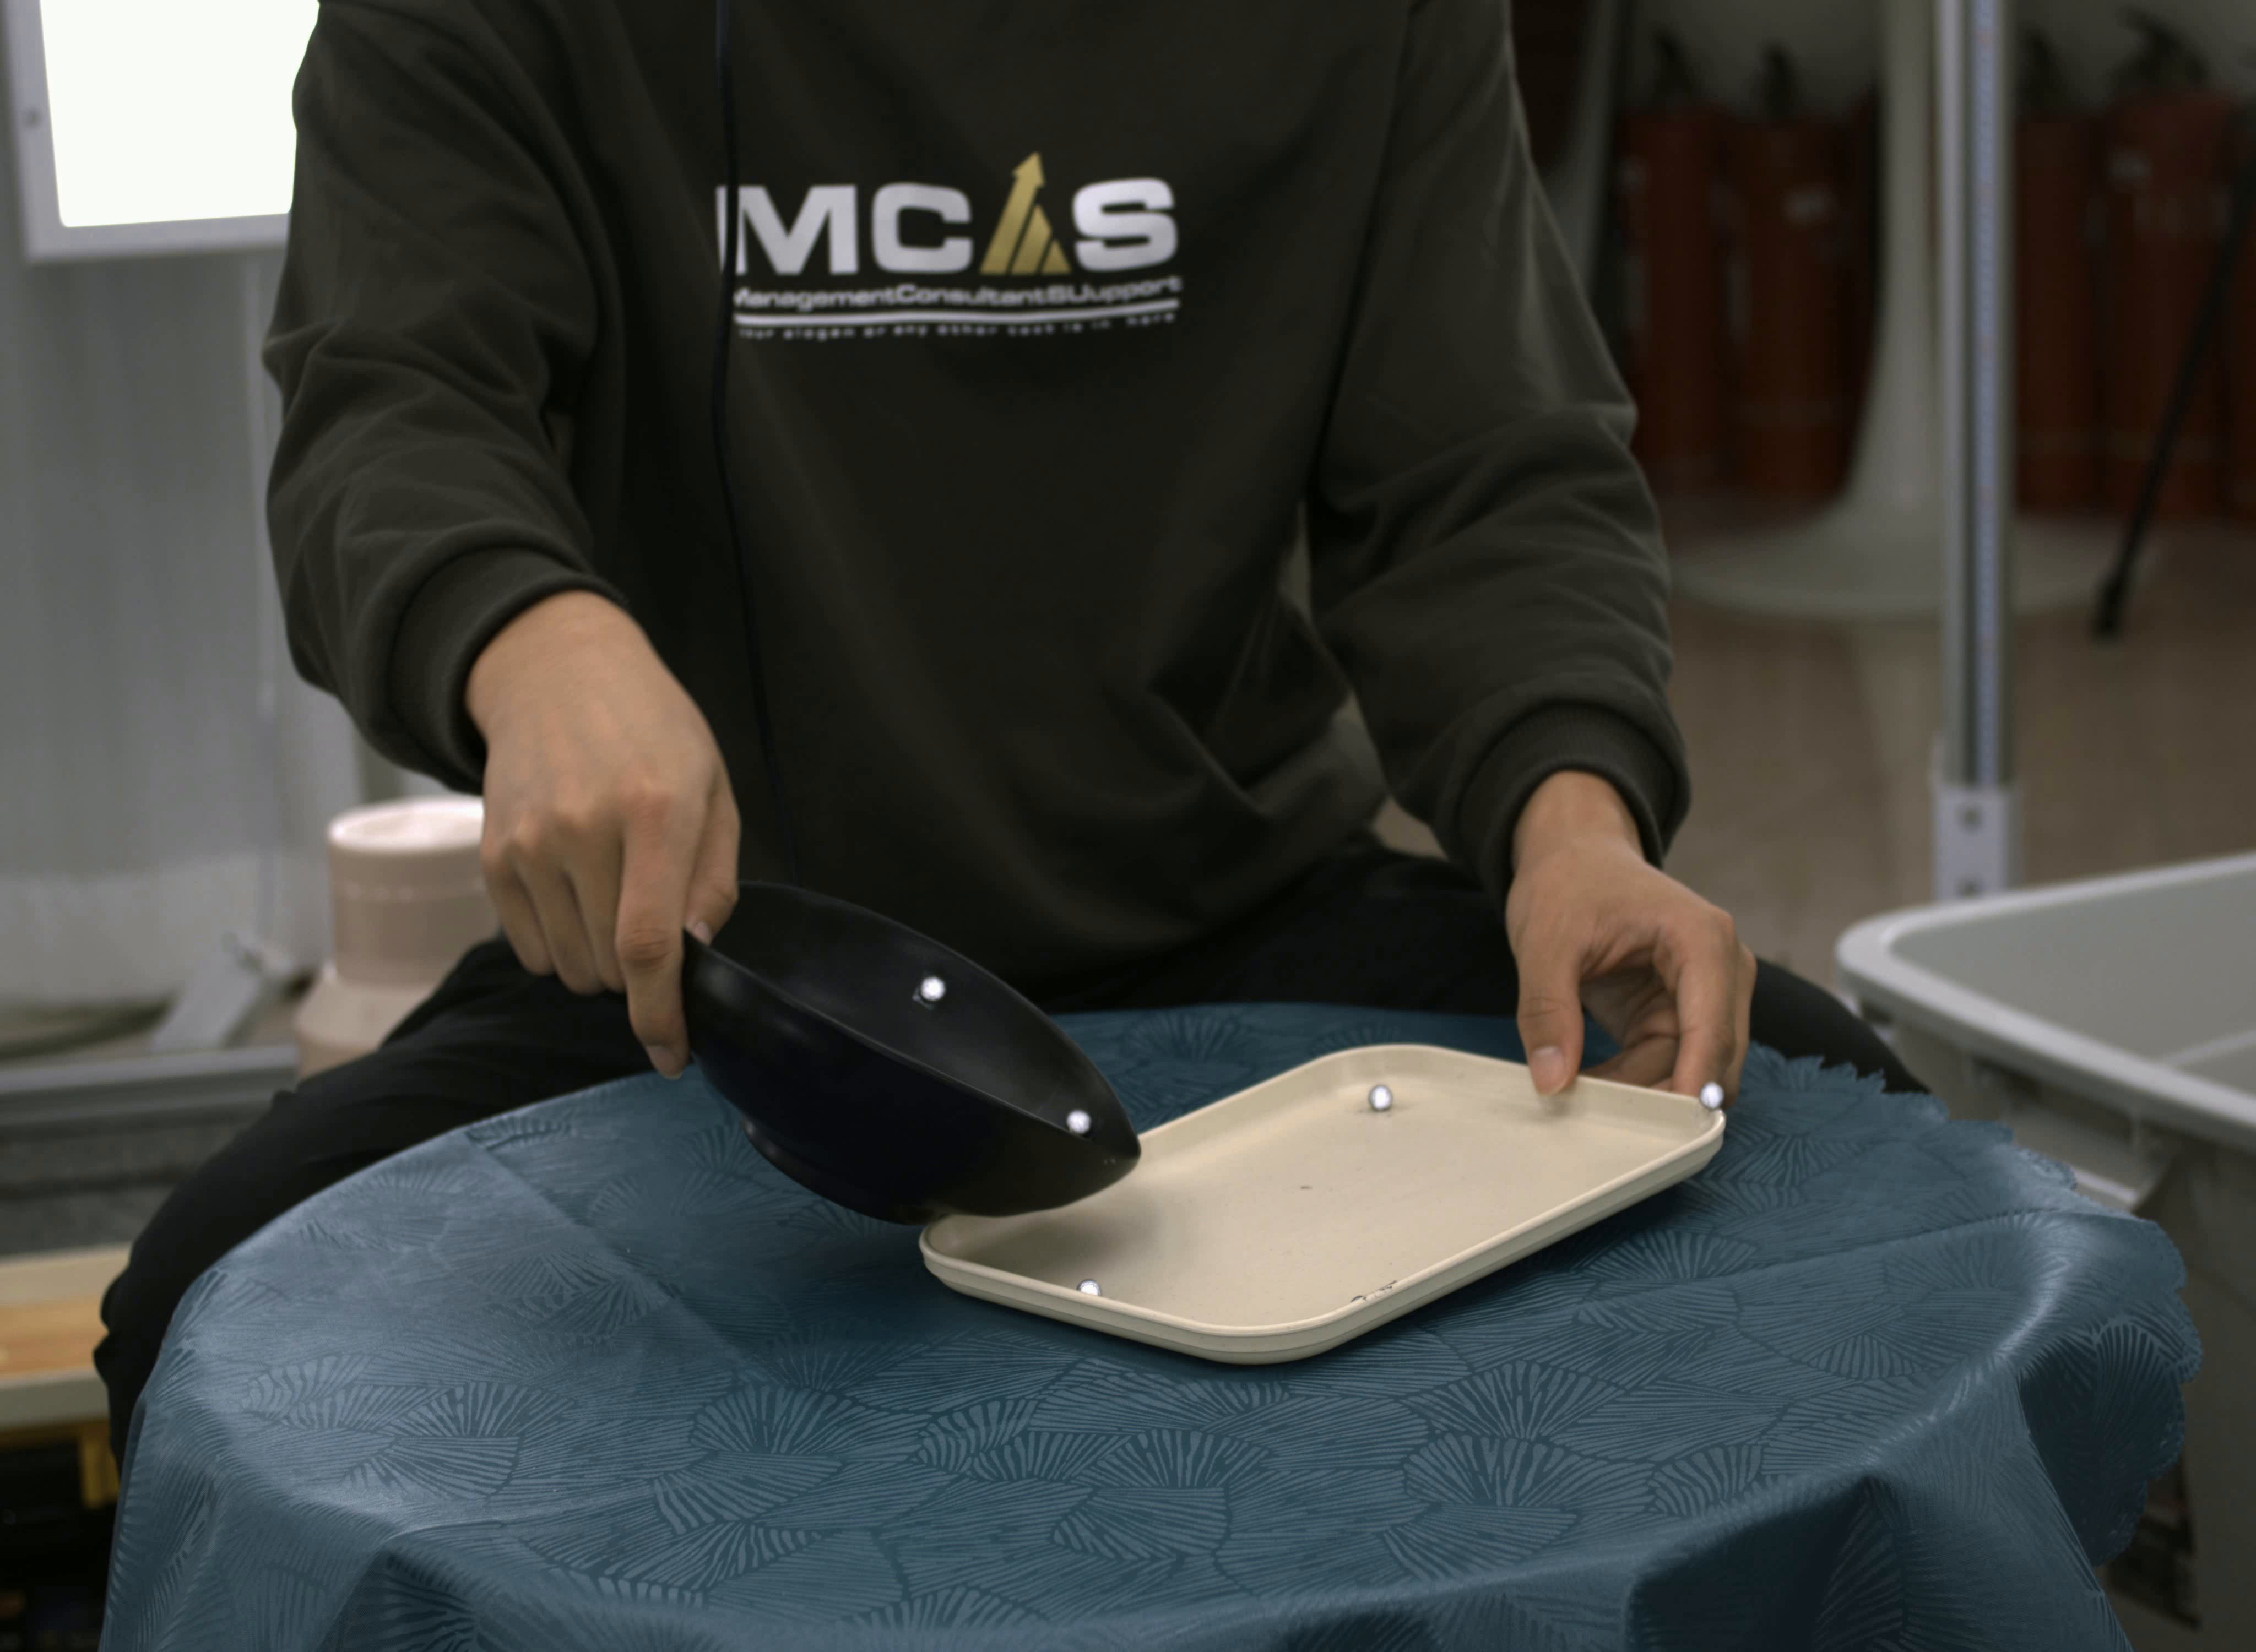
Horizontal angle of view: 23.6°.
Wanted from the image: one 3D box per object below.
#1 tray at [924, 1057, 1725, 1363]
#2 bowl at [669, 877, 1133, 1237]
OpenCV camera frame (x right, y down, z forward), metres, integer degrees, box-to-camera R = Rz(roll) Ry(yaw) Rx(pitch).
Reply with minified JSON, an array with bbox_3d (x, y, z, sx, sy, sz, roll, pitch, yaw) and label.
[{"bbox_3d":[0.065,0.120,1.709,0.173,0.017,0.235,7,19,45],"label":"tray"},{"bbox_3d":[-0.078,0.082,1.700,0.168,0.067,0.137,29,13,-6],"label":"bowl"}]
